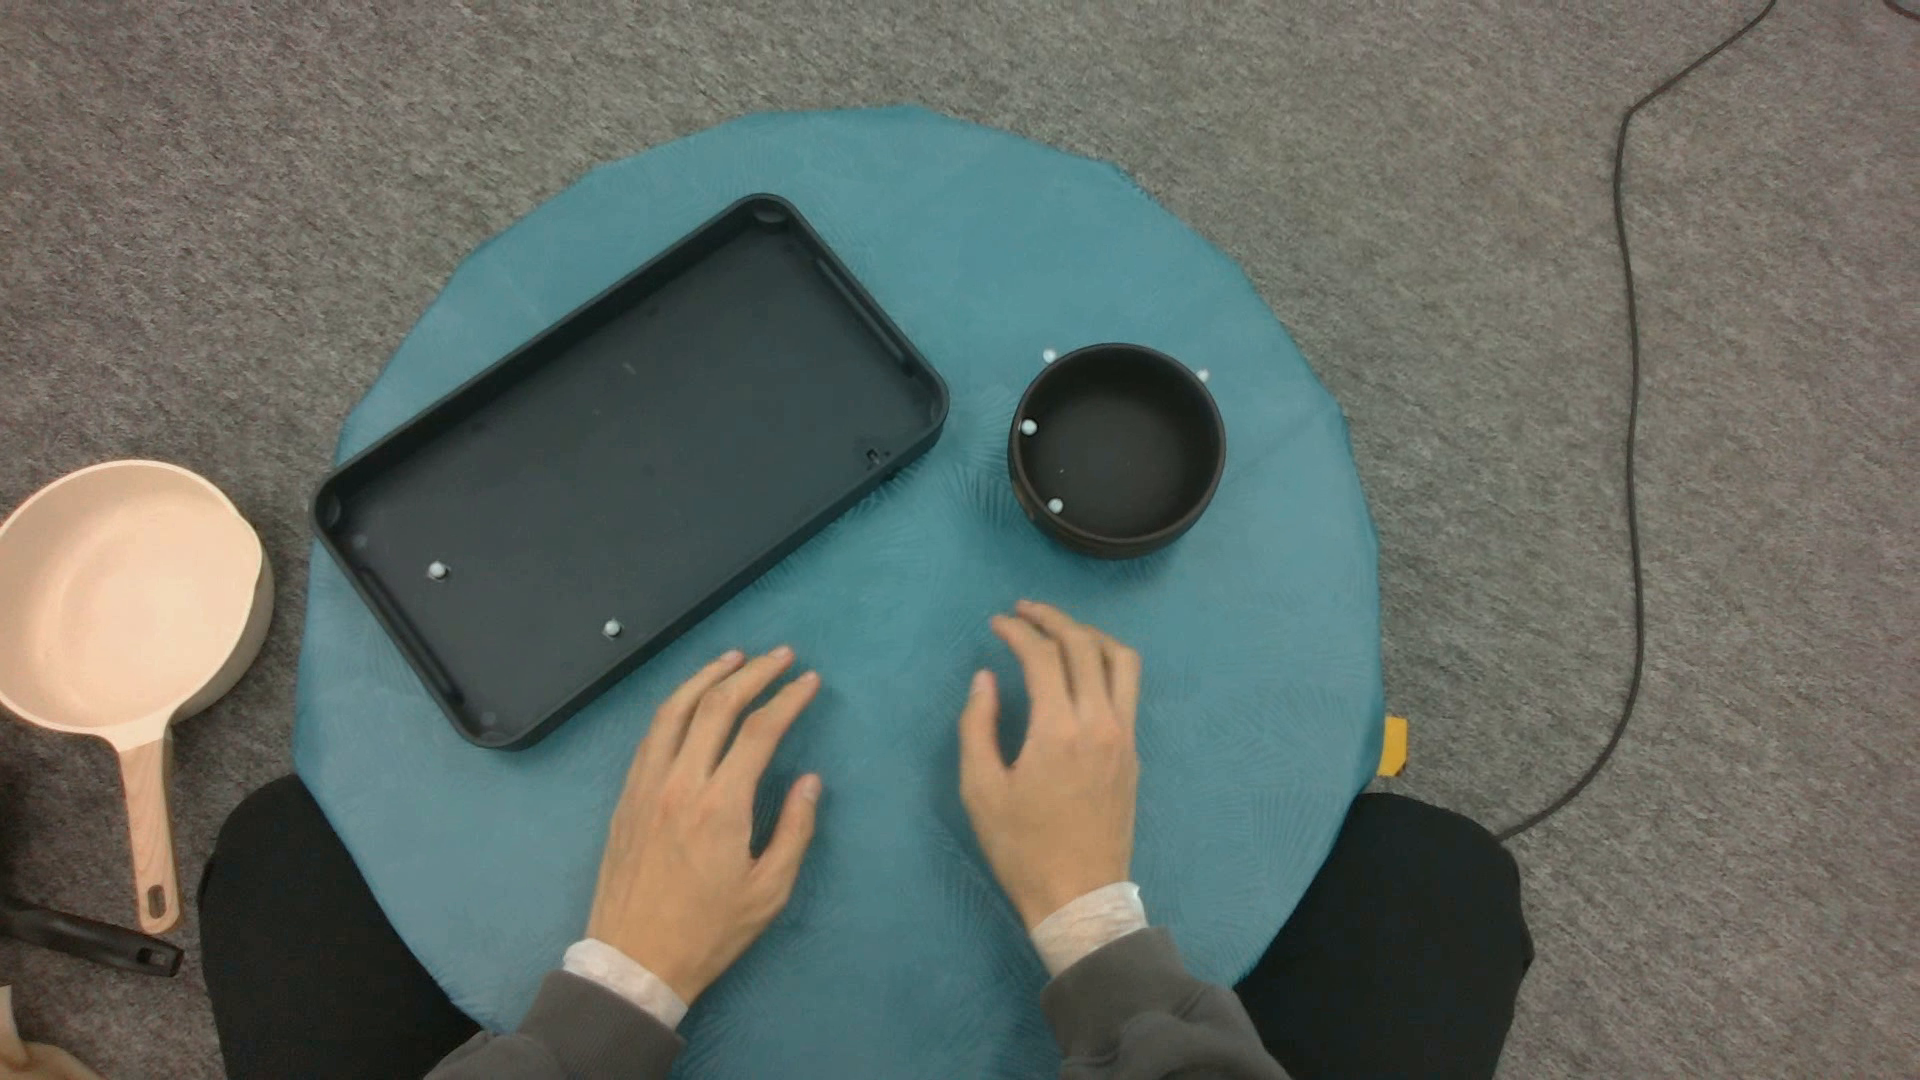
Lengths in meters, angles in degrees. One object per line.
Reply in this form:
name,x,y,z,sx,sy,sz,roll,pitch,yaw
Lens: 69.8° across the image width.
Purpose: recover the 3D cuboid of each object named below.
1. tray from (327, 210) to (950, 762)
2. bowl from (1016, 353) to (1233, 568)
tray,-0.176,-0.036,0.784,0.318,0.037,0.184,-39,78,-13
bowl,0.089,-0.040,0.773,0.118,0.069,0.118,1,74,-2
